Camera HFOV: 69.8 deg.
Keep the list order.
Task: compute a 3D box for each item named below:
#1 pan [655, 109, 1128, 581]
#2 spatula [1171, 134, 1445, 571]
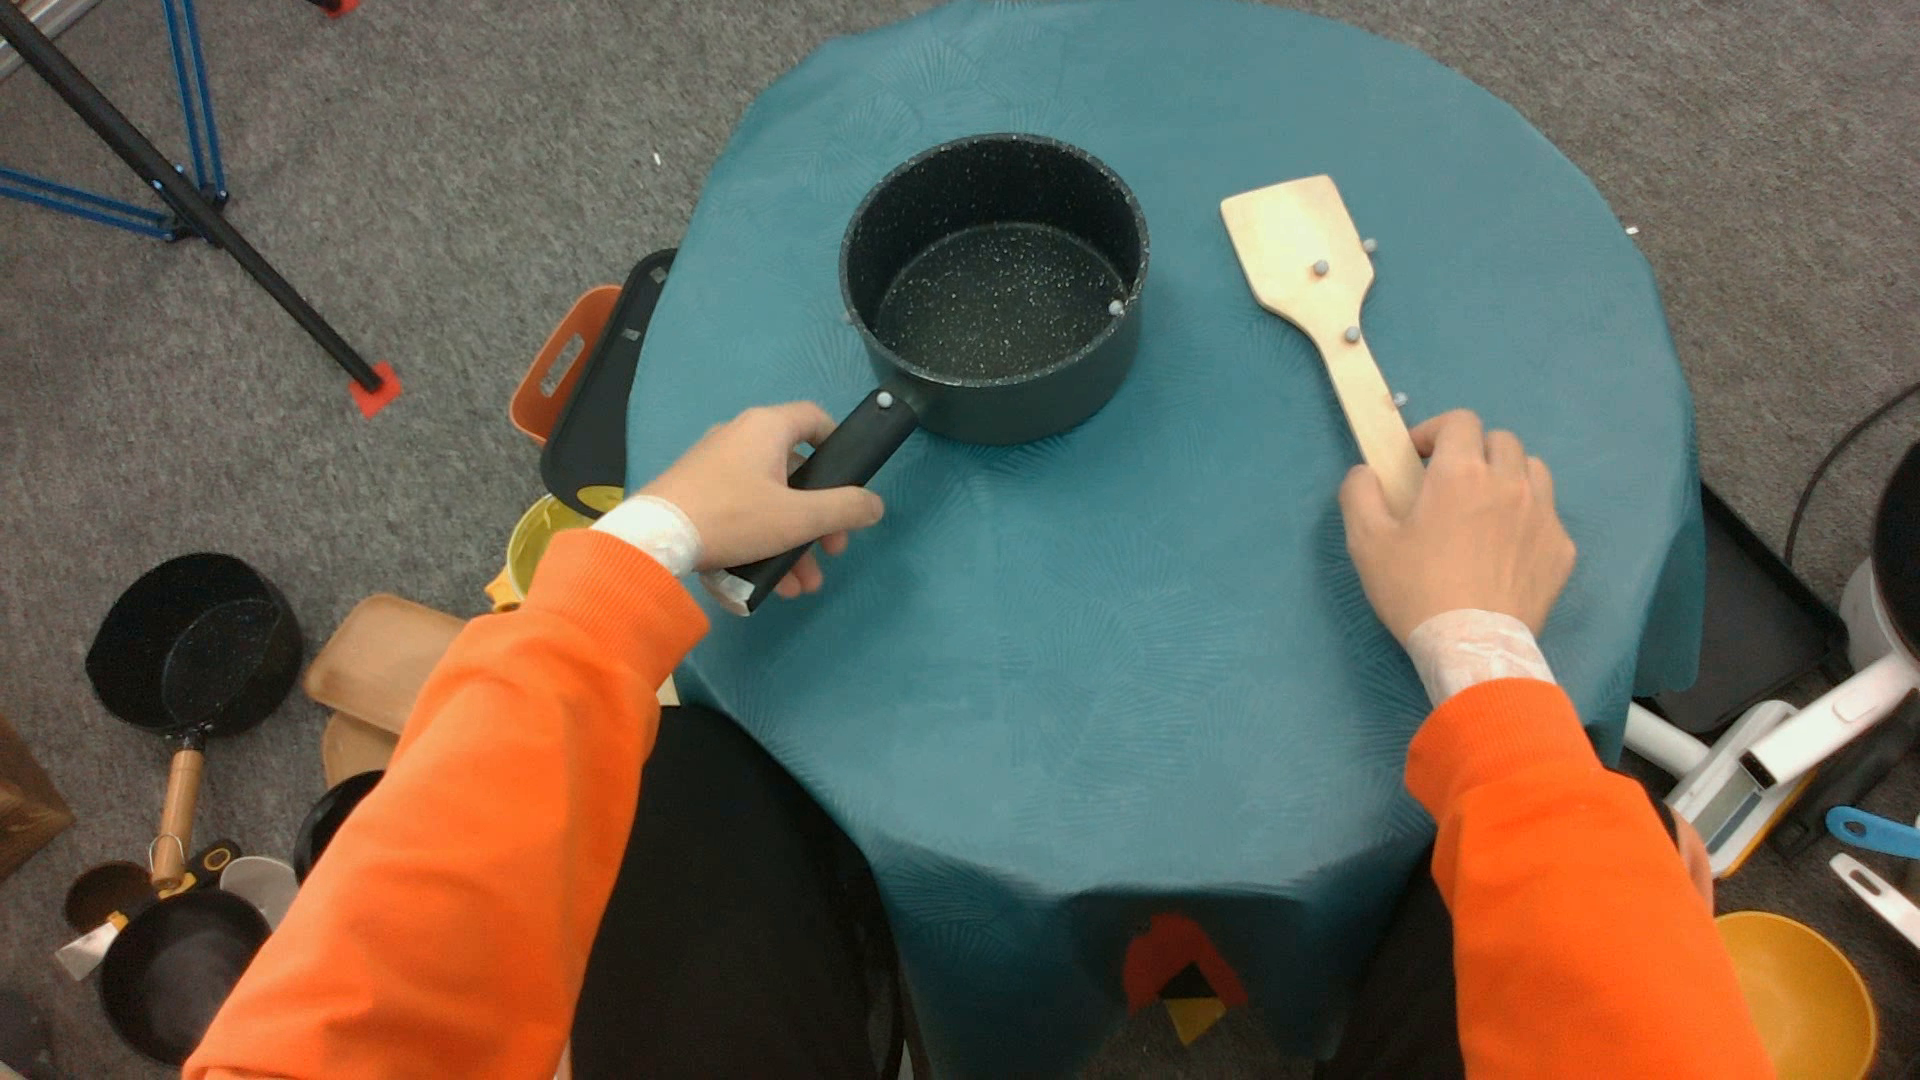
[{"bbox_3d":[-0.037,-0.094,0.754,0.172,0.086,0.330,31,70,20],"label":"pan"},{"bbox_3d":[0.197,-0.110,0.760,0.072,0.010,0.294,-20,61,6],"label":"spatula"}]
